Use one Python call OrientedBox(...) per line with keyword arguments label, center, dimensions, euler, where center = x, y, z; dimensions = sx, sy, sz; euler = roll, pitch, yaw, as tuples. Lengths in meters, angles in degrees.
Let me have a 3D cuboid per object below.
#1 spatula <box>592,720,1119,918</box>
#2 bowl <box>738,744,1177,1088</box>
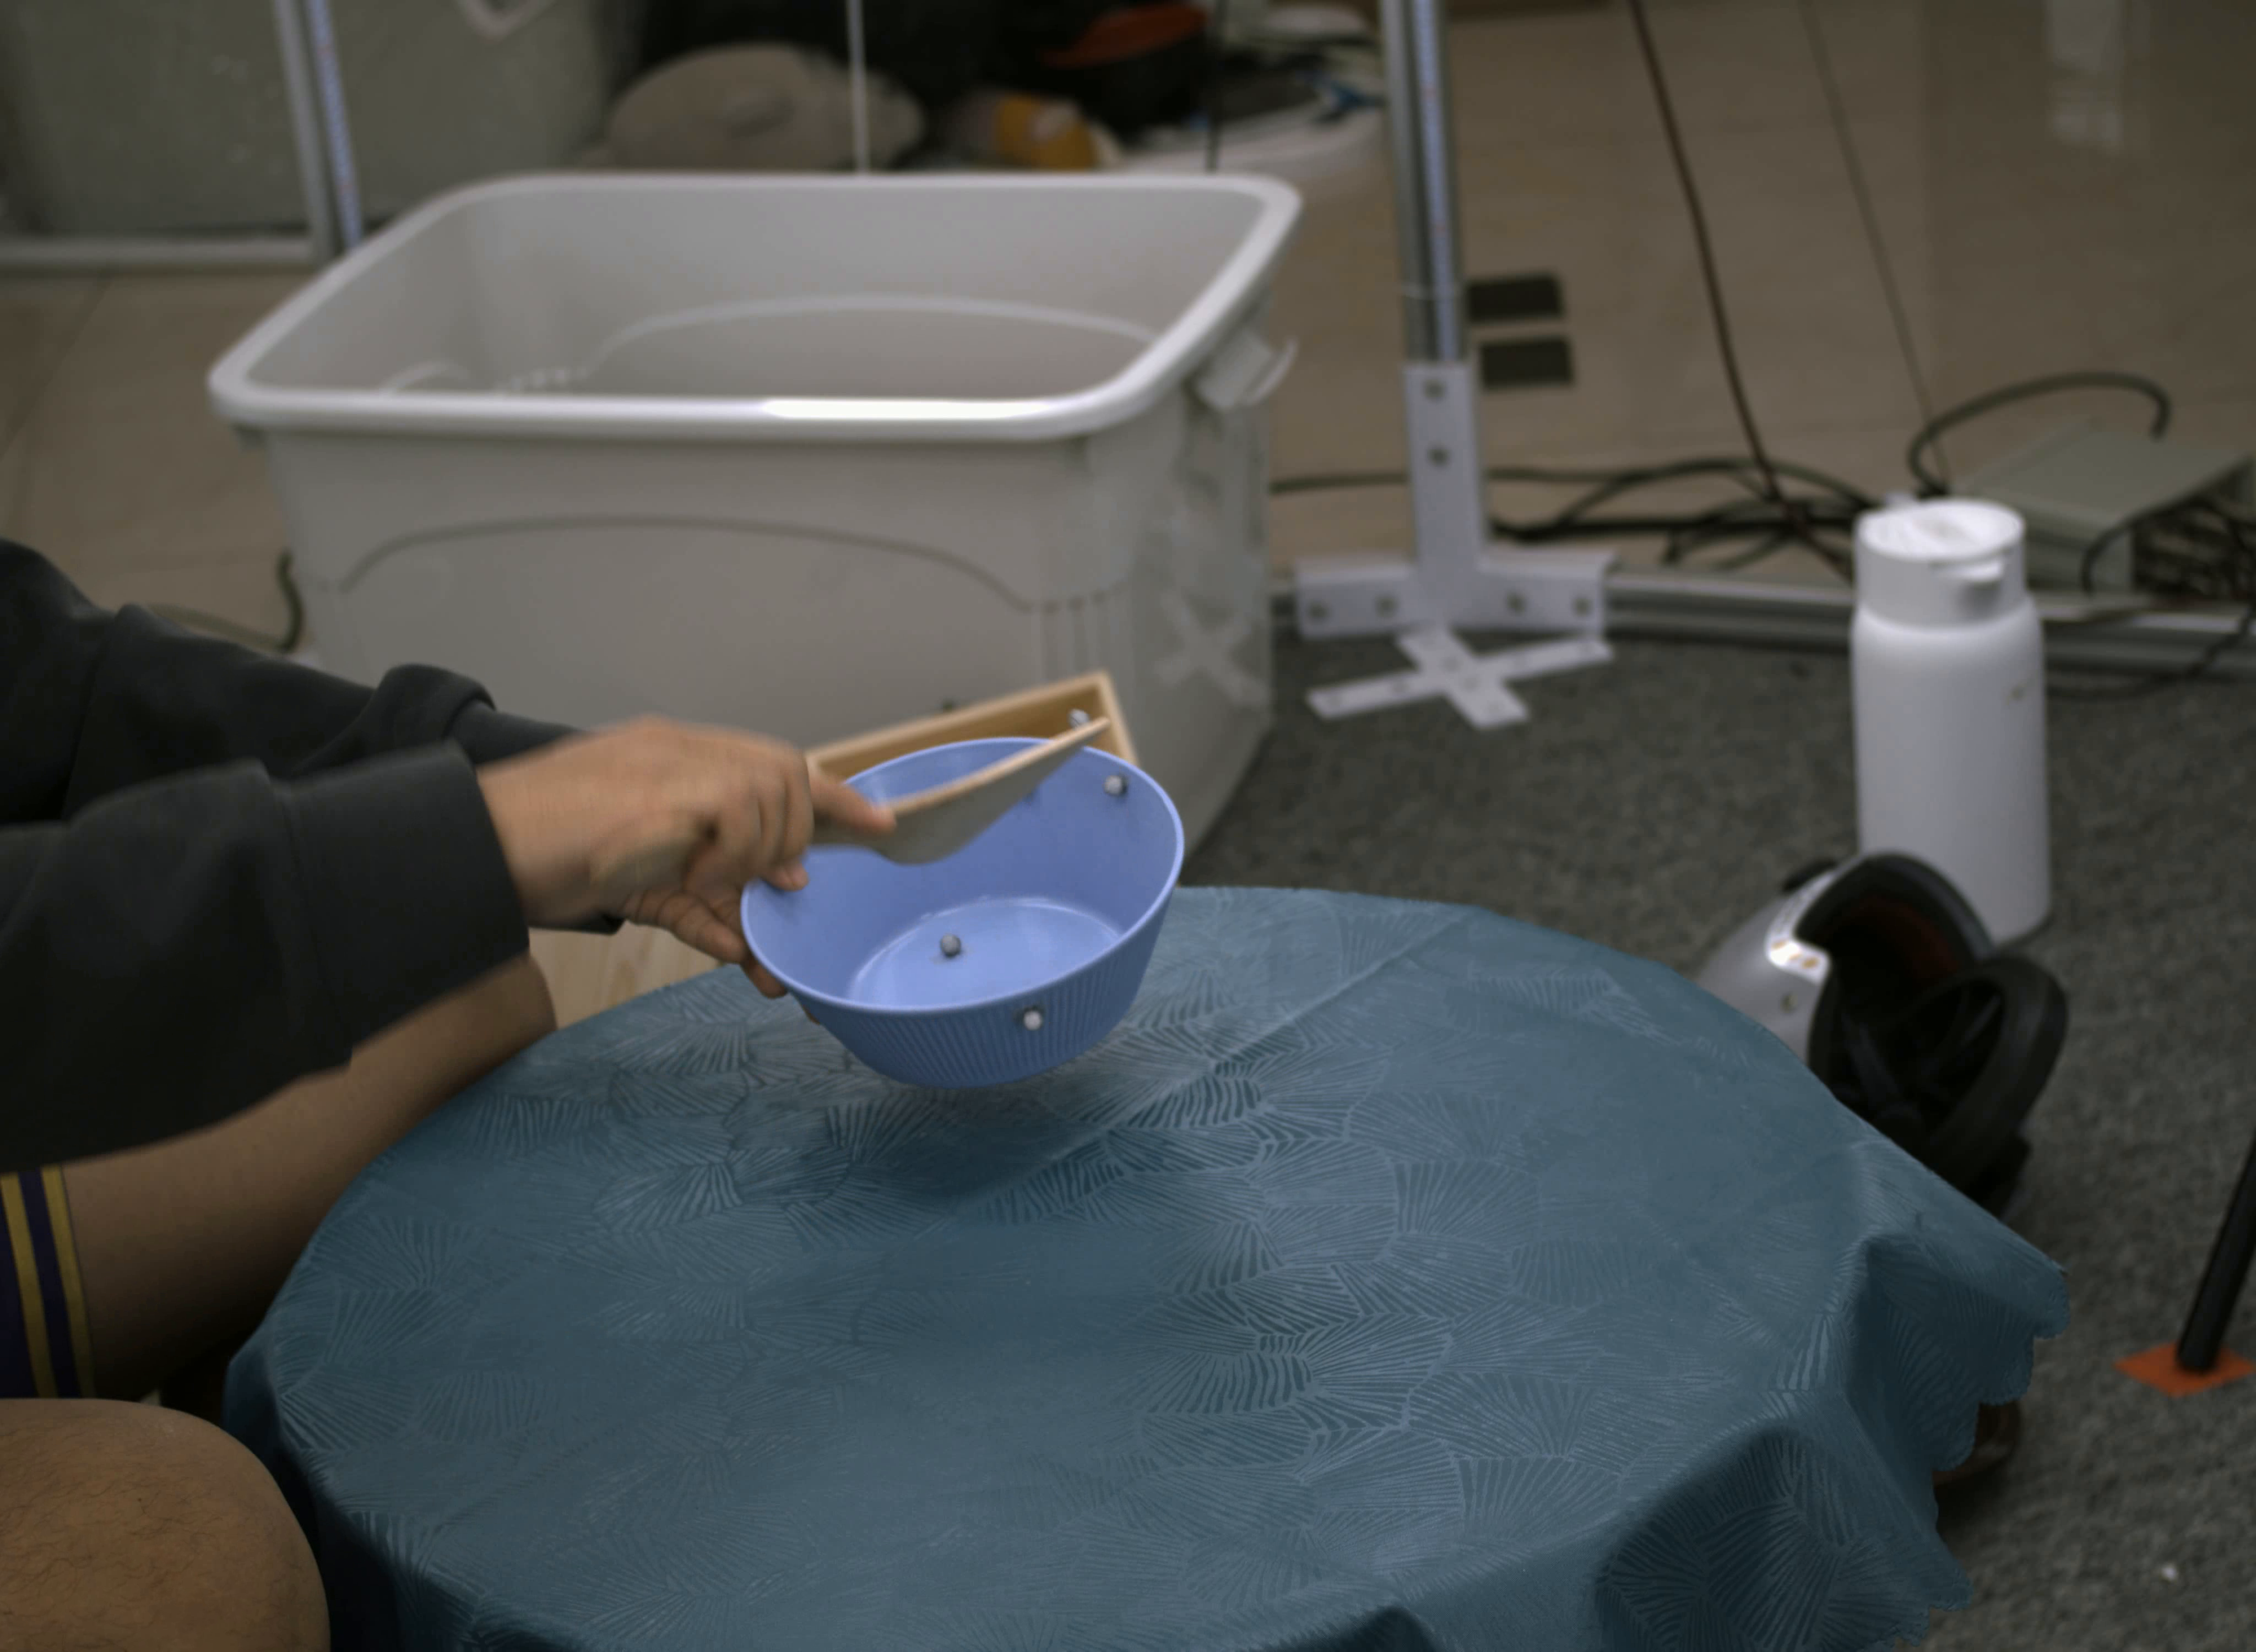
OrientedBox(label="spatula", center=(-0.096, 0.003, 1.950), dimensions=(0.080, 0.016, 0.326), euler=(-40, -13, 24))
OrientedBox(label="bowl", center=(-0.061, 0.043, 2.226), dimensions=(0.176, 0.071, 0.173), euler=(-8, 35, 6))
